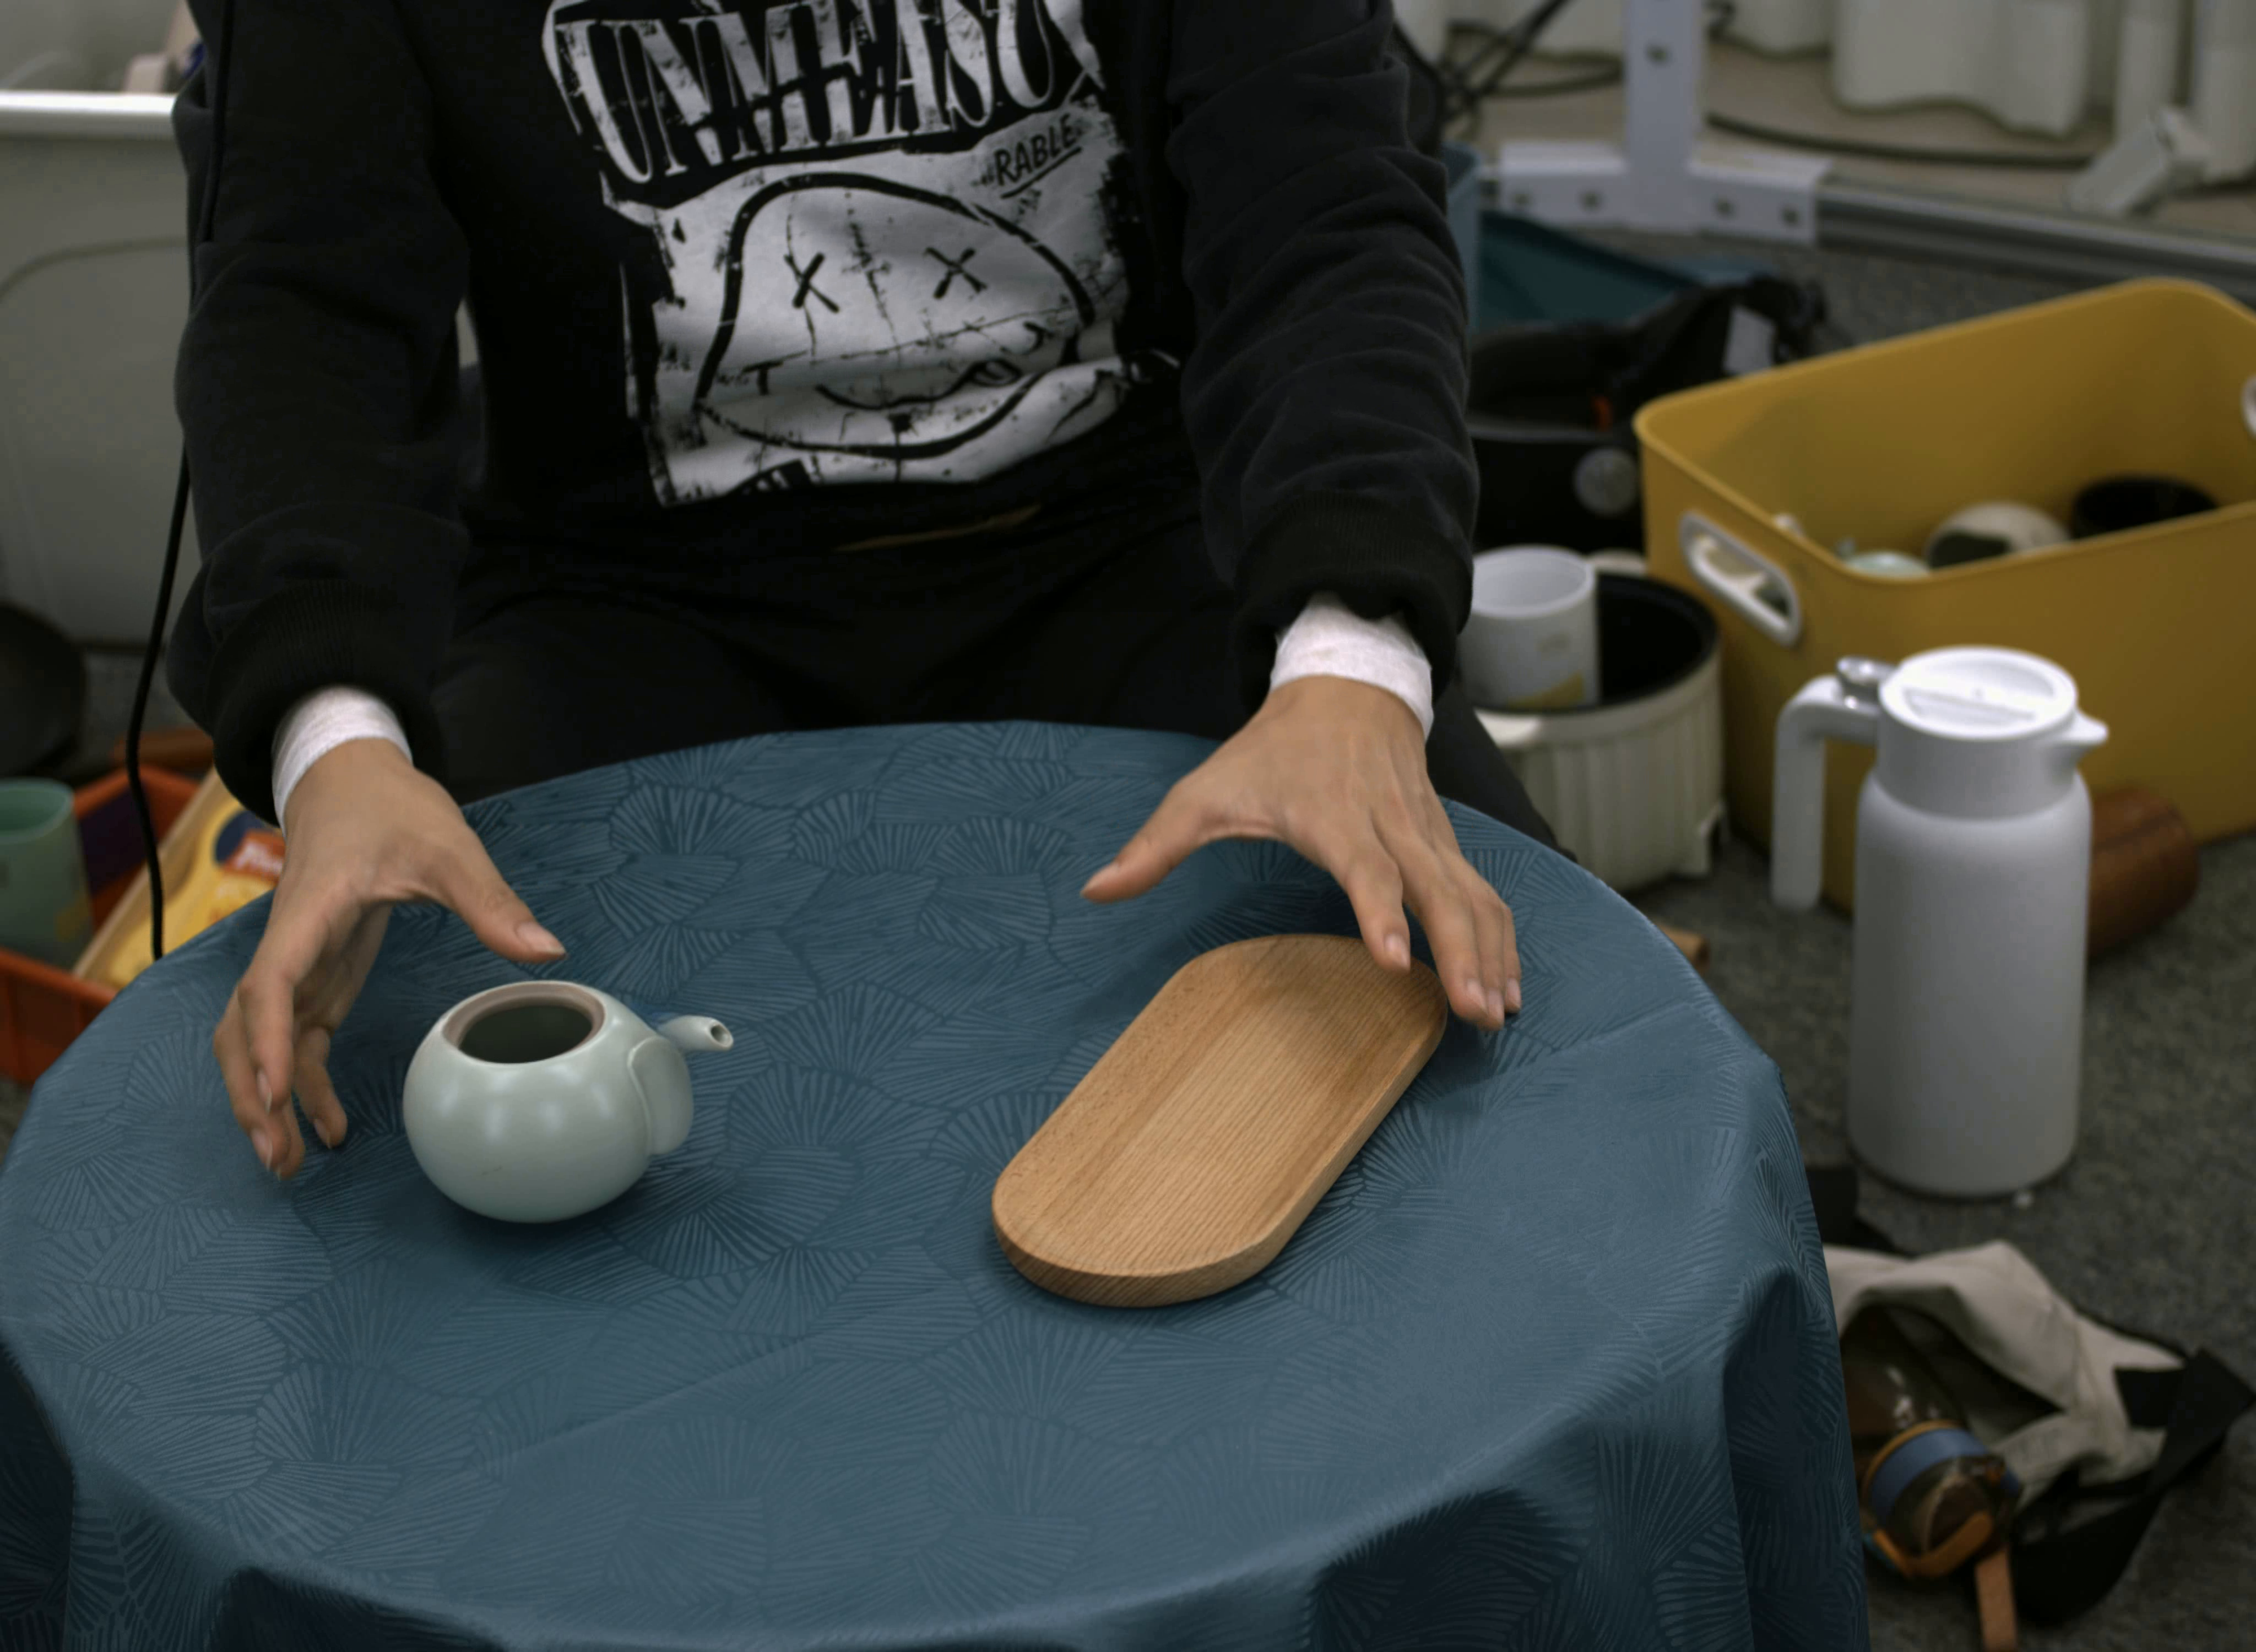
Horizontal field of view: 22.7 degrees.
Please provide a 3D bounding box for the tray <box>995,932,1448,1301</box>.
[{"bbox_3d":[0.033,0.096,1.889,0.101,0.020,0.235,10,29,21],"label":"tray"}]

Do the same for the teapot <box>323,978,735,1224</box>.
[{"bbox_3d":[-0.197,0.091,1.860,0.143,0.074,0.090,7,28,14],"label":"teapot"}]
